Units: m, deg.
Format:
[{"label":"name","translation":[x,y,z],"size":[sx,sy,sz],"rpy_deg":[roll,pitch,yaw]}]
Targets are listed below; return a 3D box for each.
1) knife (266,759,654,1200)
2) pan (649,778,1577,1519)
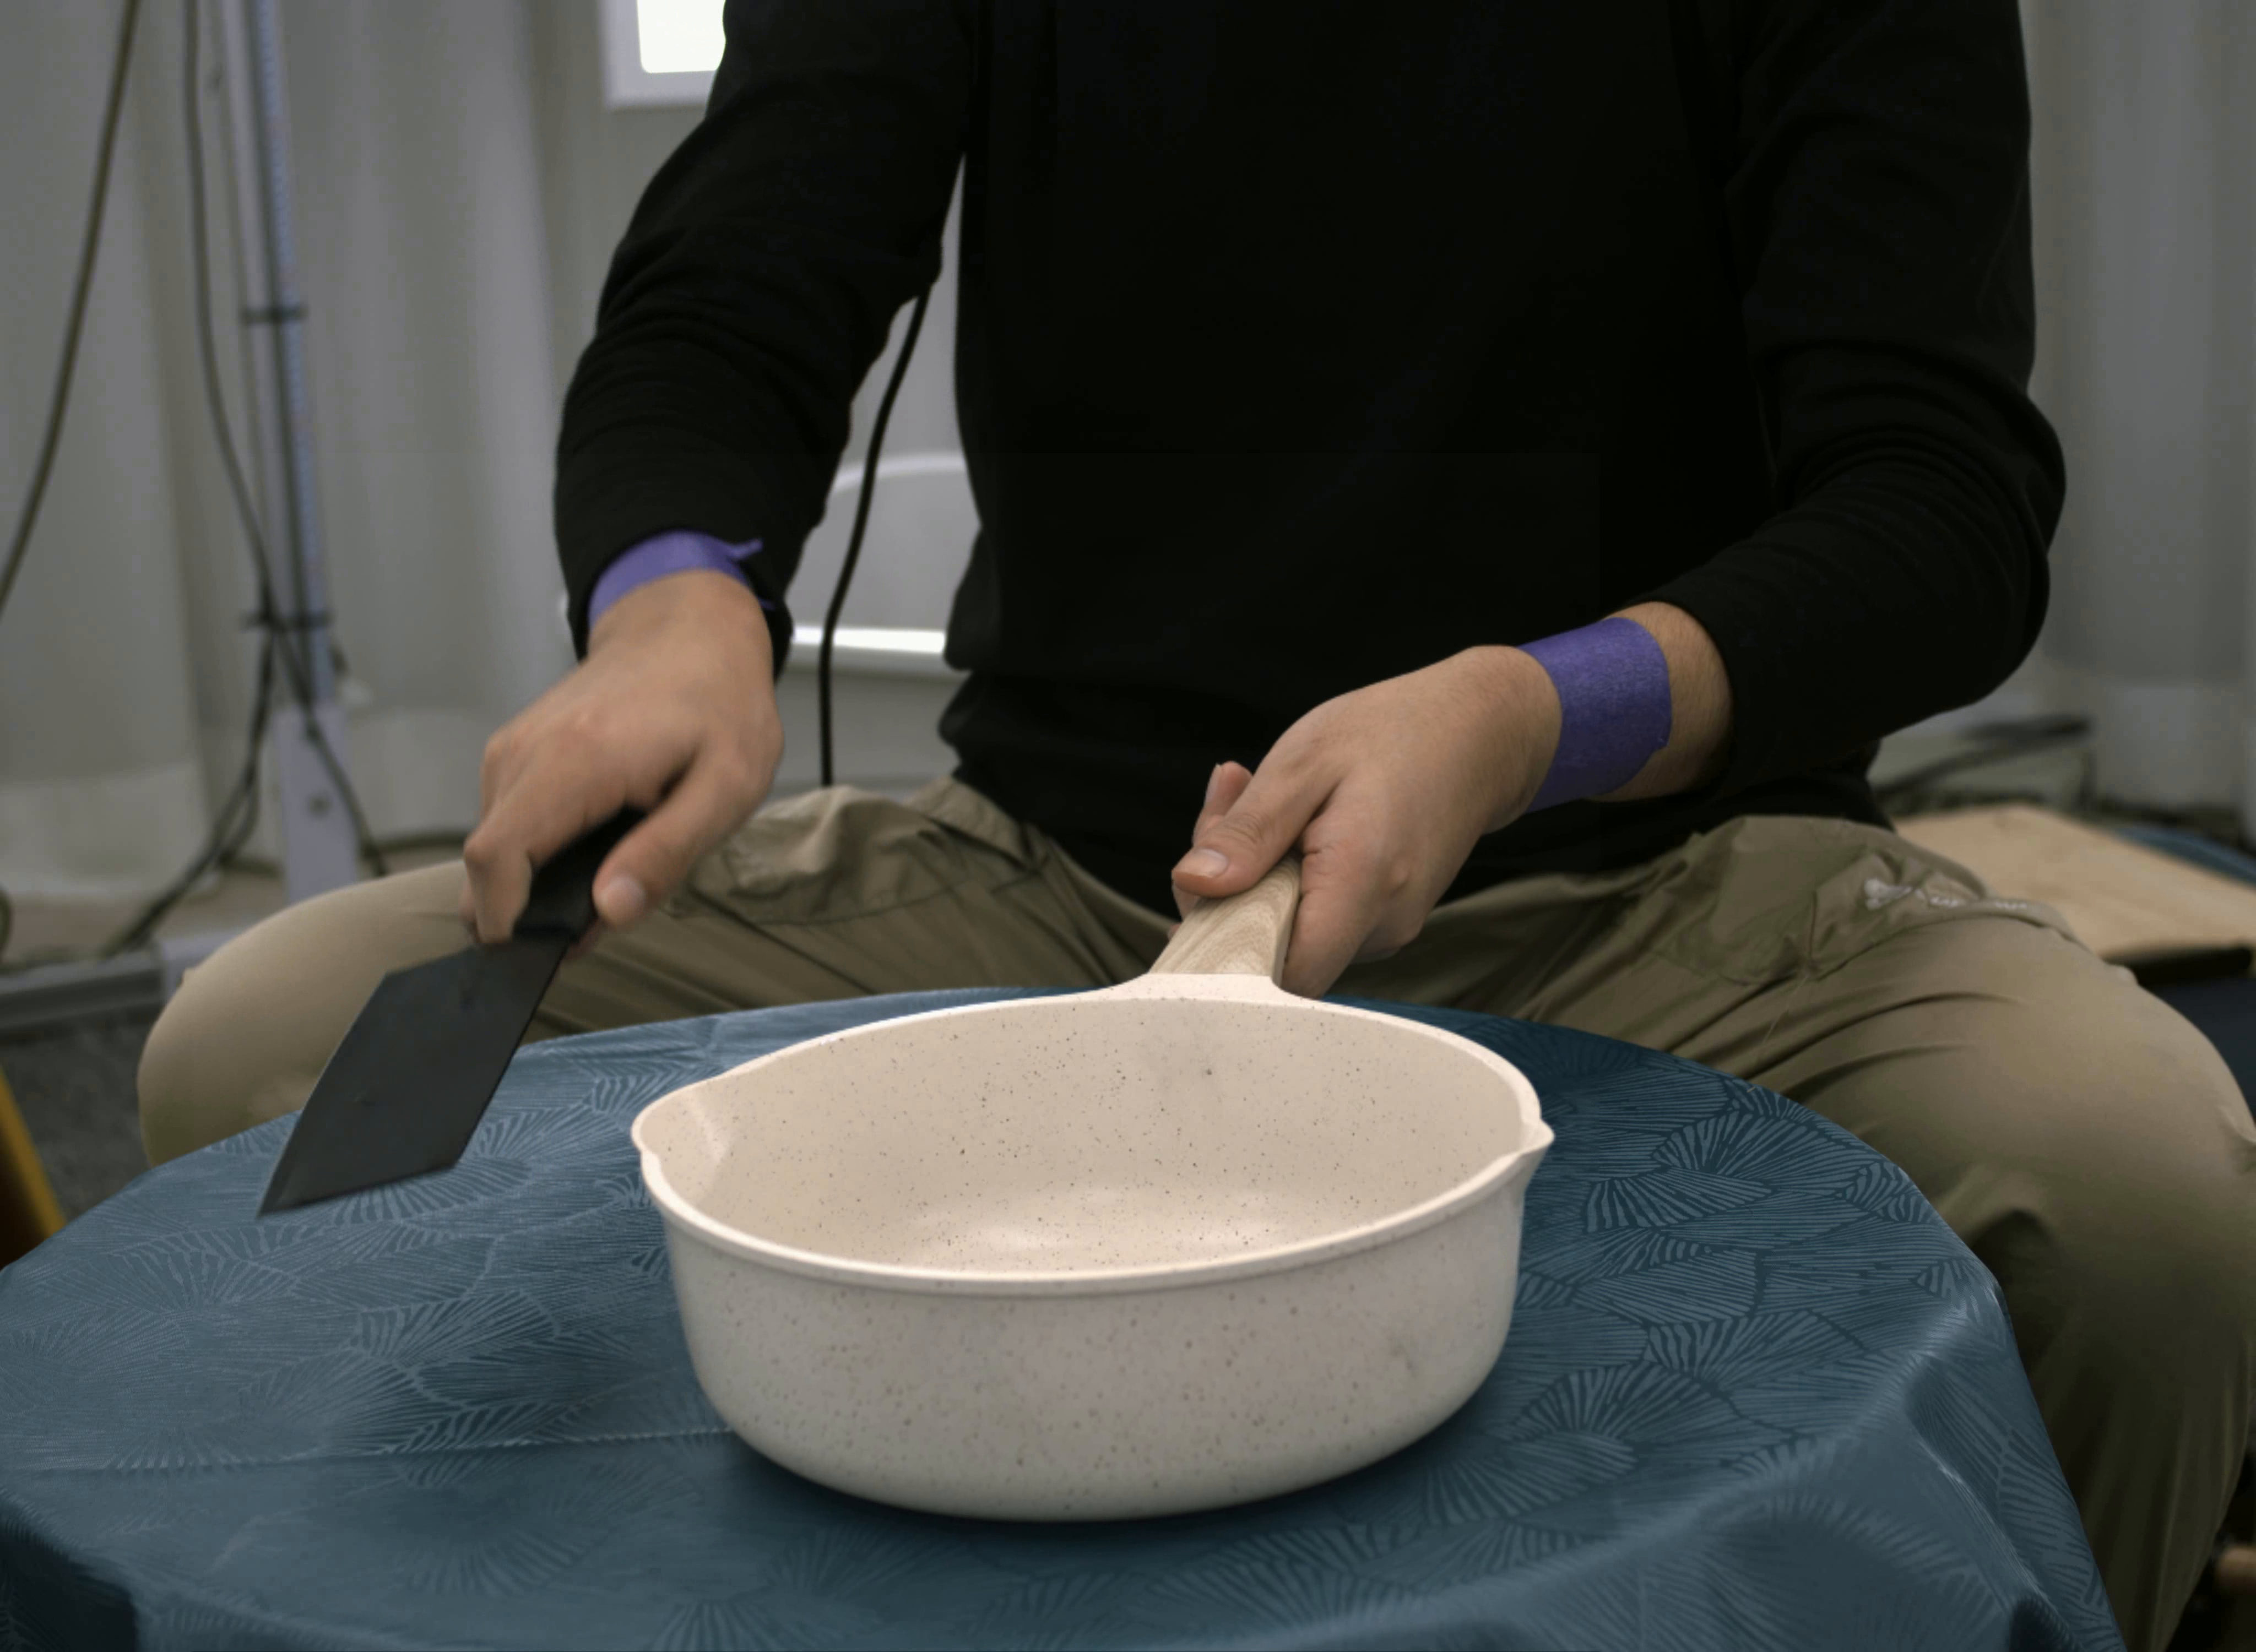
[{"label":"knife","translation":[-0.193,0.042,1.634],"size":[0.081,0.021,0.305],"rpy_deg":[-14,19,15]},{"label":"pan","translation":[0.017,0.090,1.614],"size":[0.263,0.101,0.437],"rpy_deg":[-1,15,14]}]
